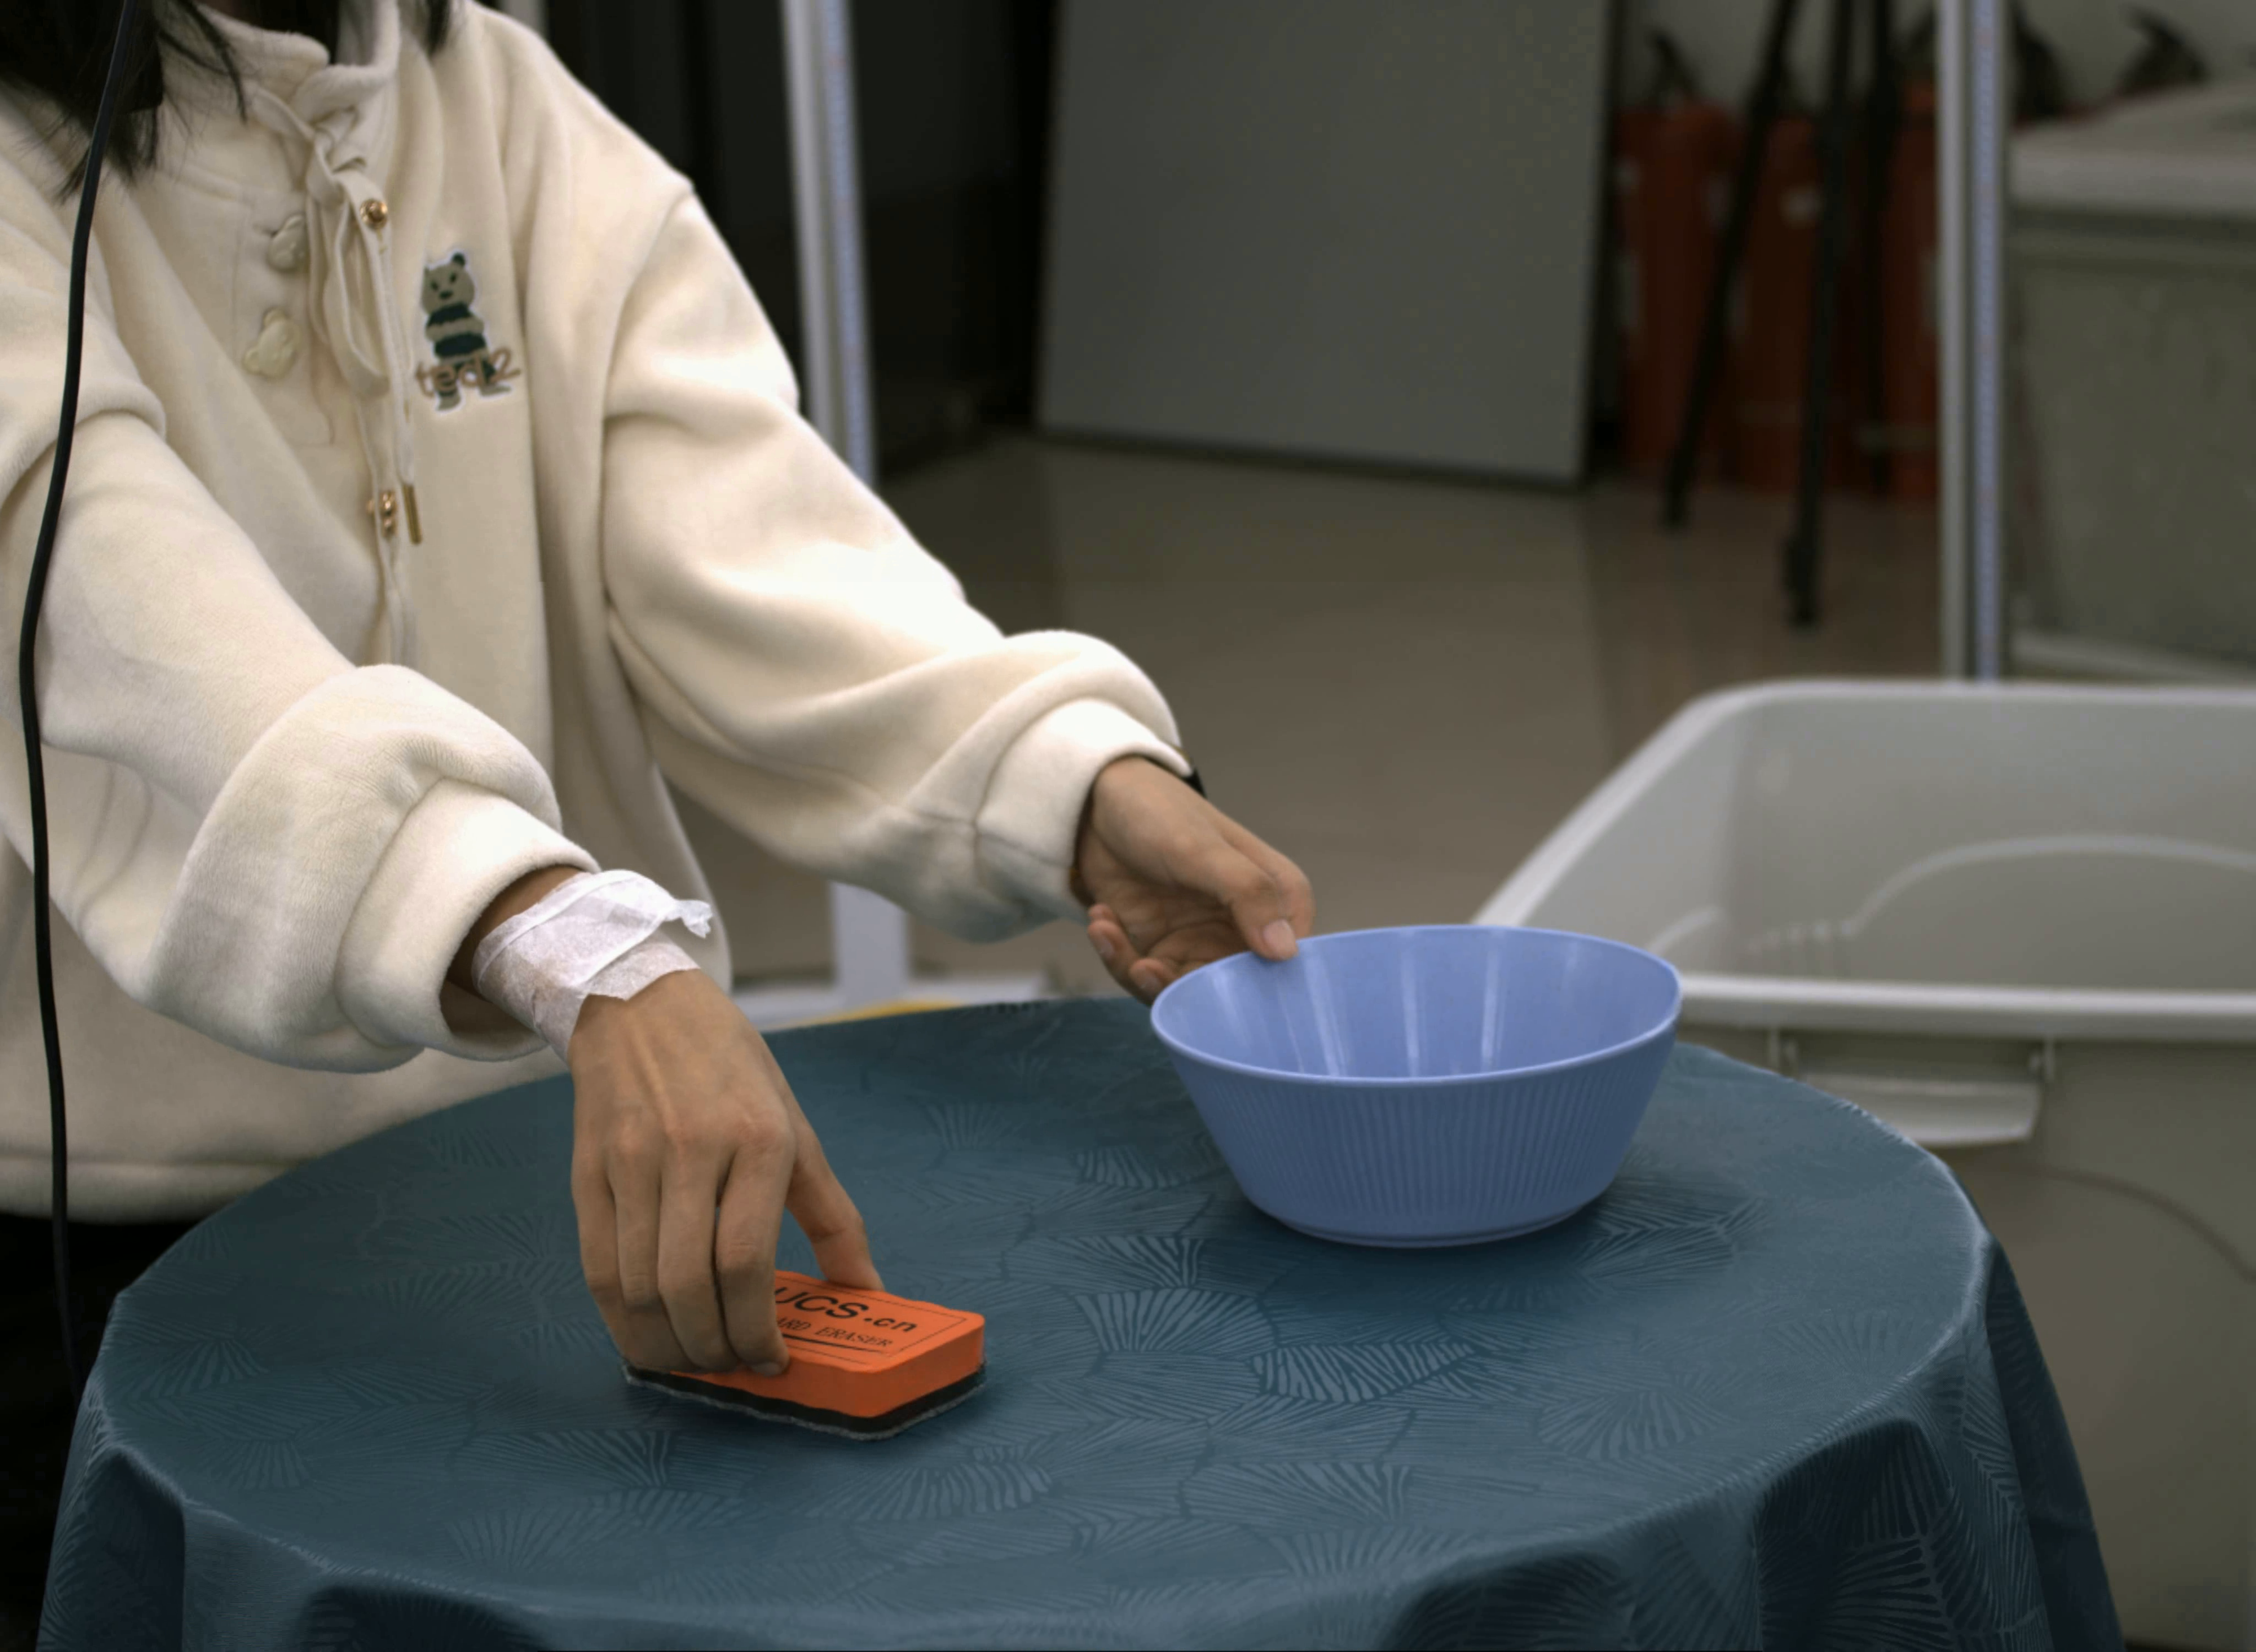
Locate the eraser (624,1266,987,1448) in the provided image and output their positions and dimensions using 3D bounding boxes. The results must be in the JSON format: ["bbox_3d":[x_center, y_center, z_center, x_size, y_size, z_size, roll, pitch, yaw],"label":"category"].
[{"bbox_3d":[-0.096,0.157,1.605,0.109,0.023,0.058,8,21,42],"label":"eraser"}]

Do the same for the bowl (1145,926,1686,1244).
[{"bbox_3d":[0.094,0.085,1.736,0.174,0.071,0.176,-4,14,0],"label":"bowl"}]
